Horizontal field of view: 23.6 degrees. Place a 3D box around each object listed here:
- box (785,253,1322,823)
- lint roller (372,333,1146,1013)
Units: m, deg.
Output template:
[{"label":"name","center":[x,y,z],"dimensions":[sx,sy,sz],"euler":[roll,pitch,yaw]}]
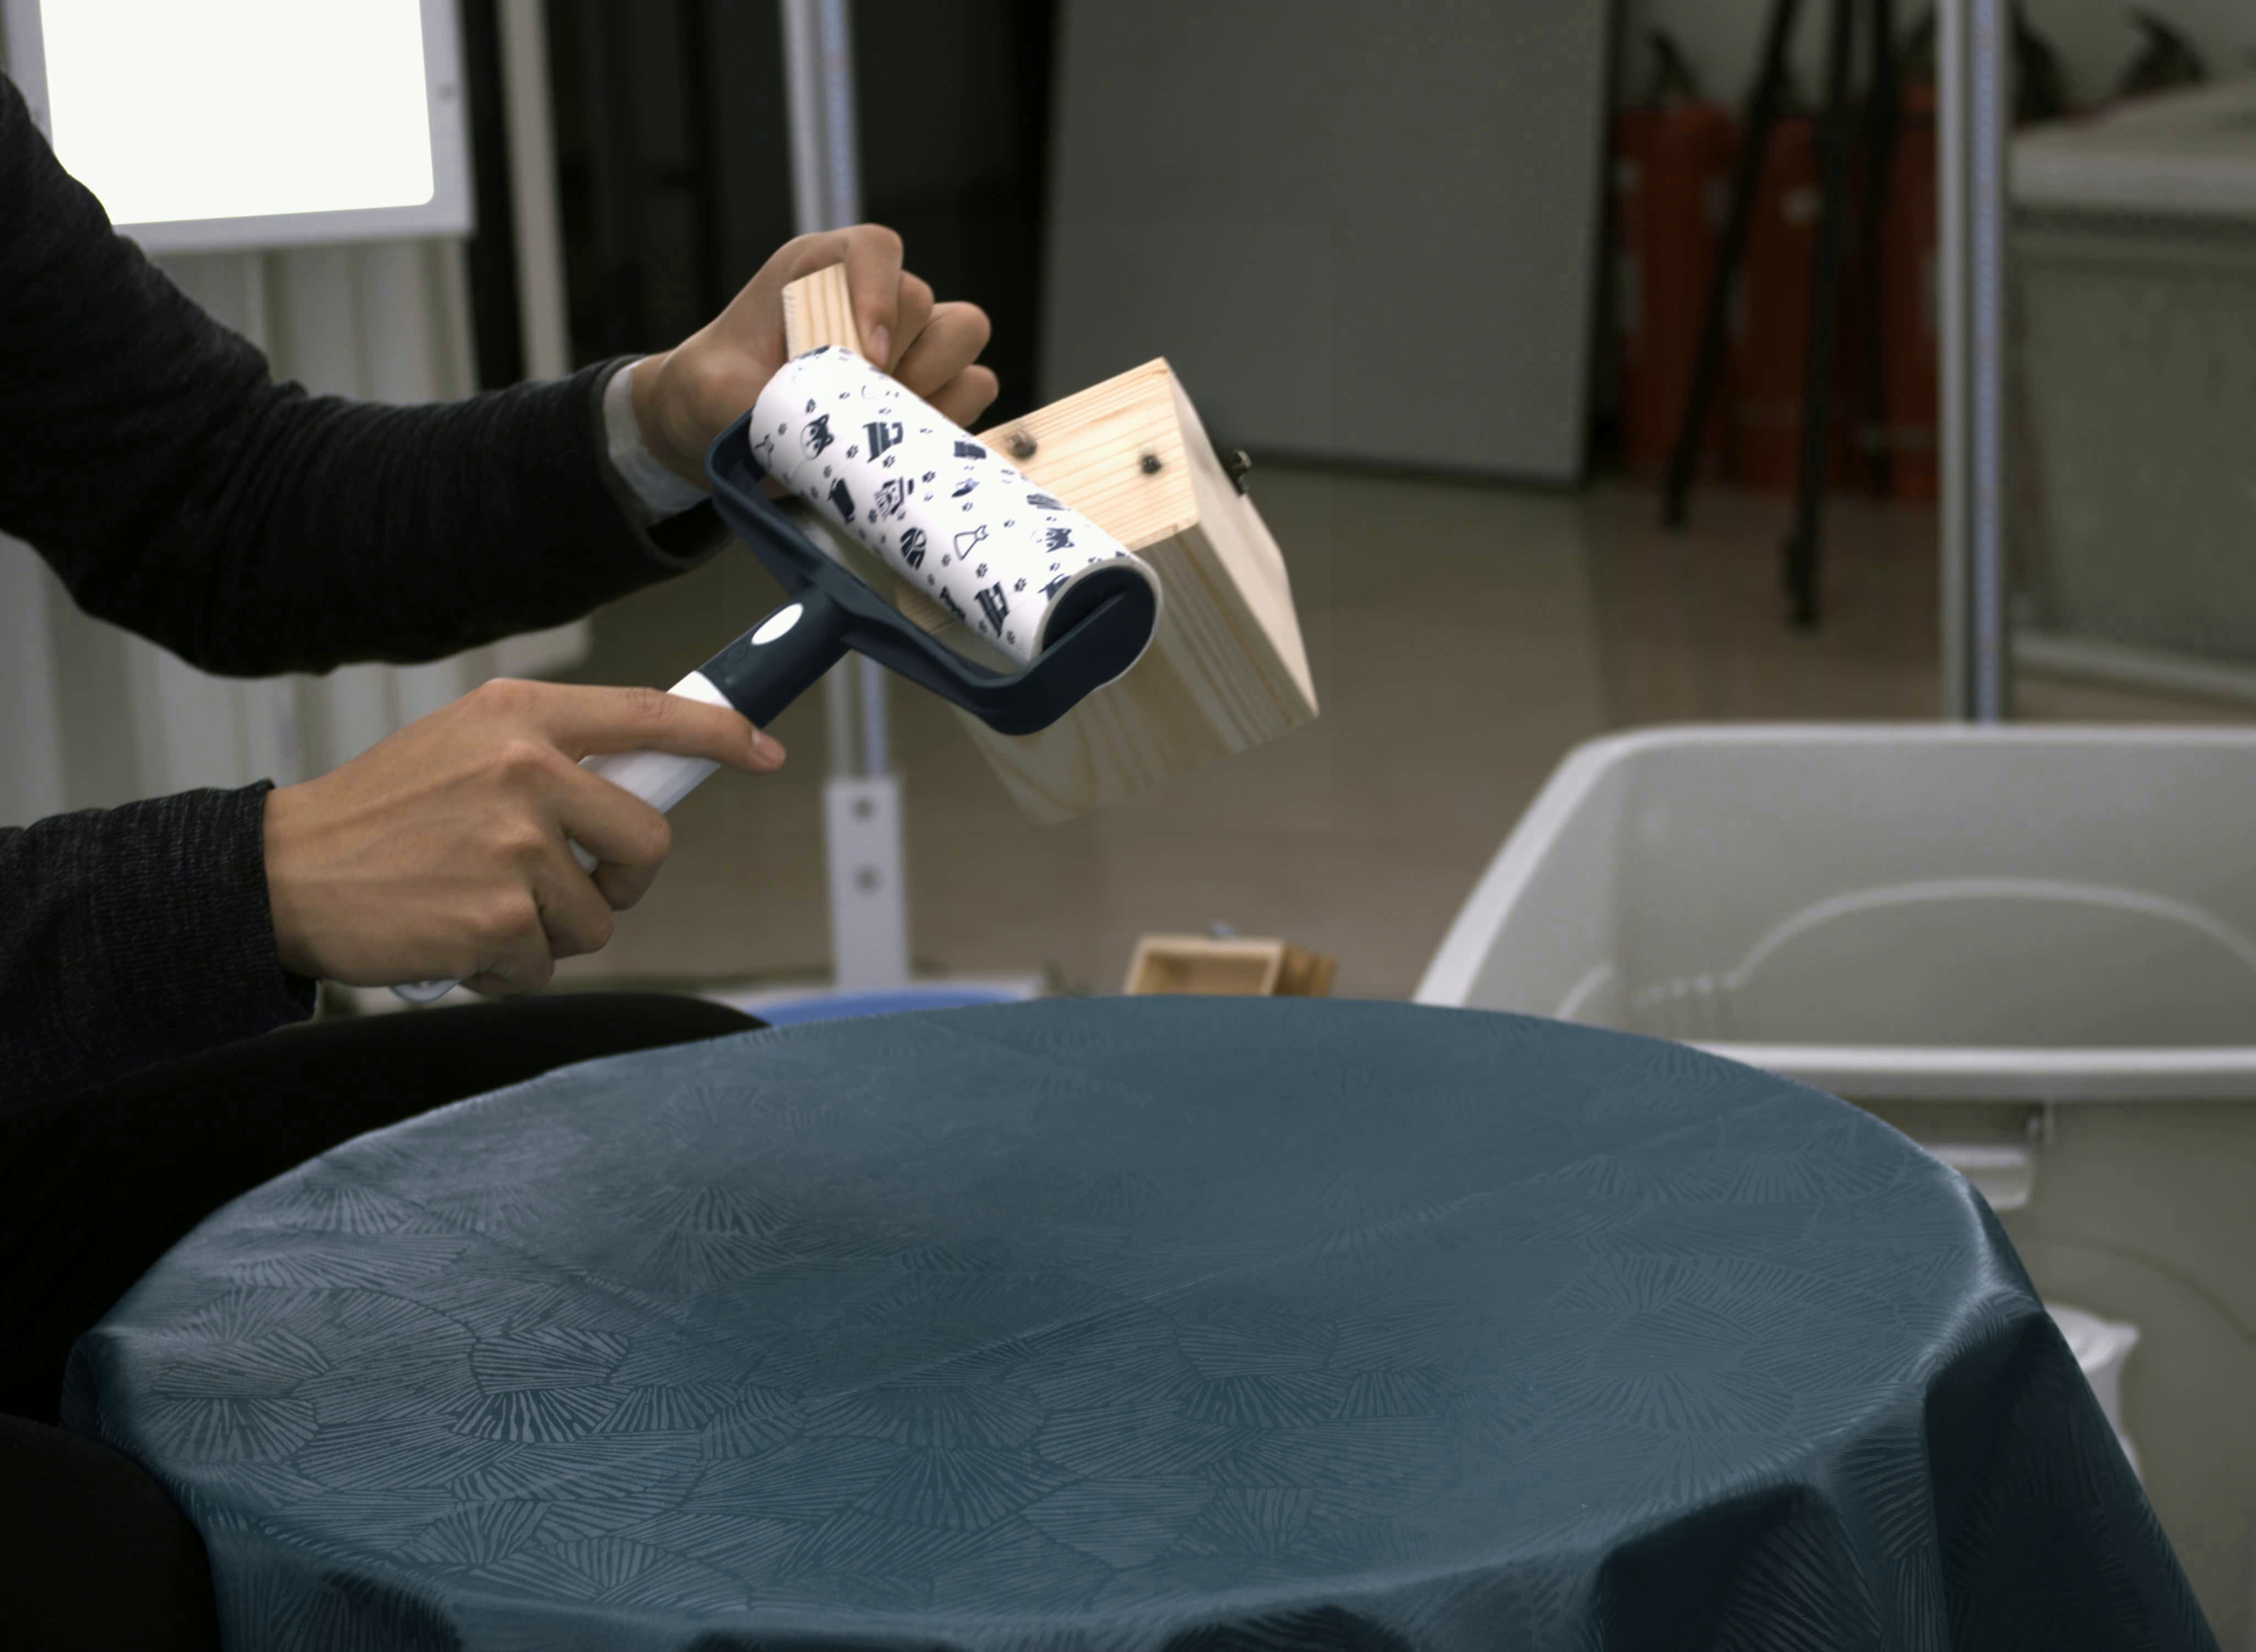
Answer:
[{"label":"box","center":[-0.024,-0.111,1.742],"dimensions":[0.133,0.102,0.186],"euler":[-23,45,12]},{"label":"lint roller","center":[-0.130,-0.034,1.623],"dimensions":[0.245,0.050,0.178],"euler":[-40,45,-13]}]
